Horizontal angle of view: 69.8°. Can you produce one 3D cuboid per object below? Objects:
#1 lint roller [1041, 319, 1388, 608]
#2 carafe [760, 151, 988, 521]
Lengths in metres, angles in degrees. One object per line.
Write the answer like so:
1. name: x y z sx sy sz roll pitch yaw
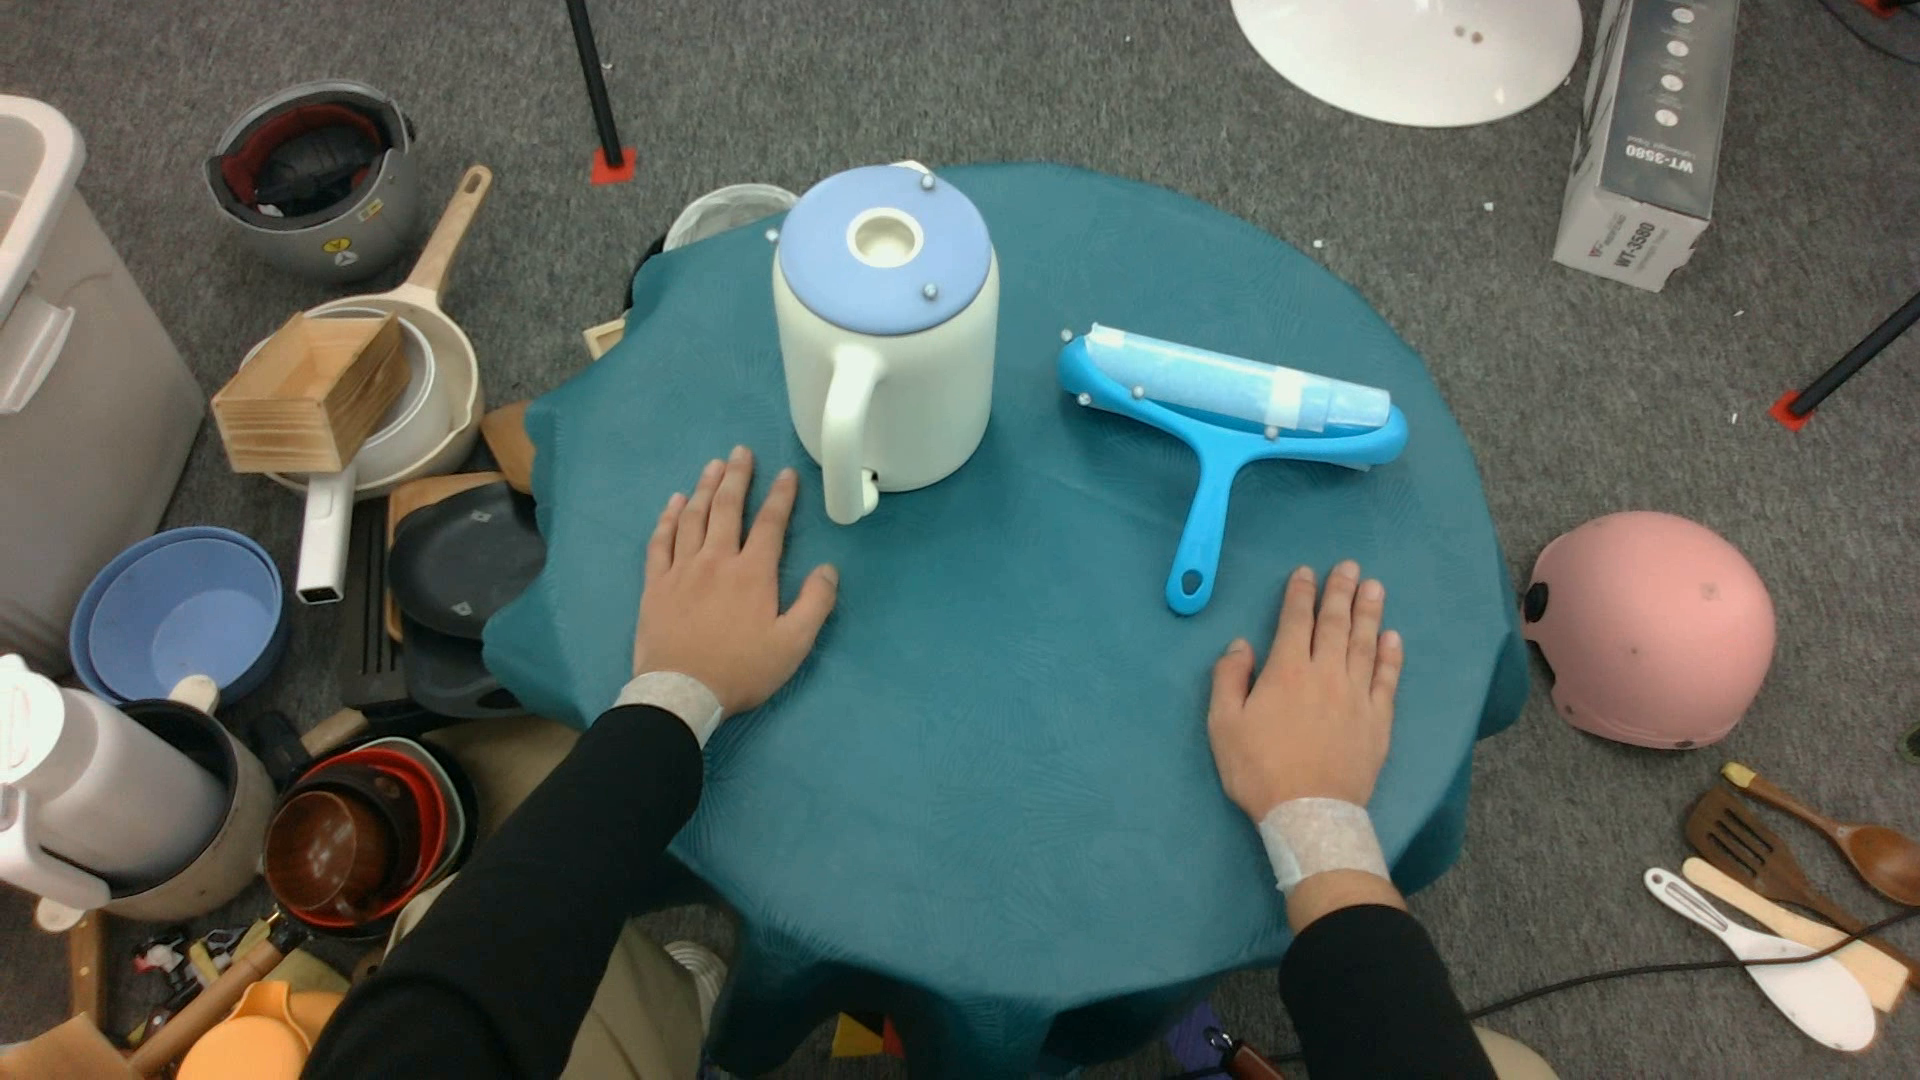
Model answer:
1. lint roller: 0.152 -0.047 0.865 0.229 0.067 0.181 14 58 1
2. carafe: -0.055 -0.107 0.823 0.132 0.182 0.192 10 64 3
